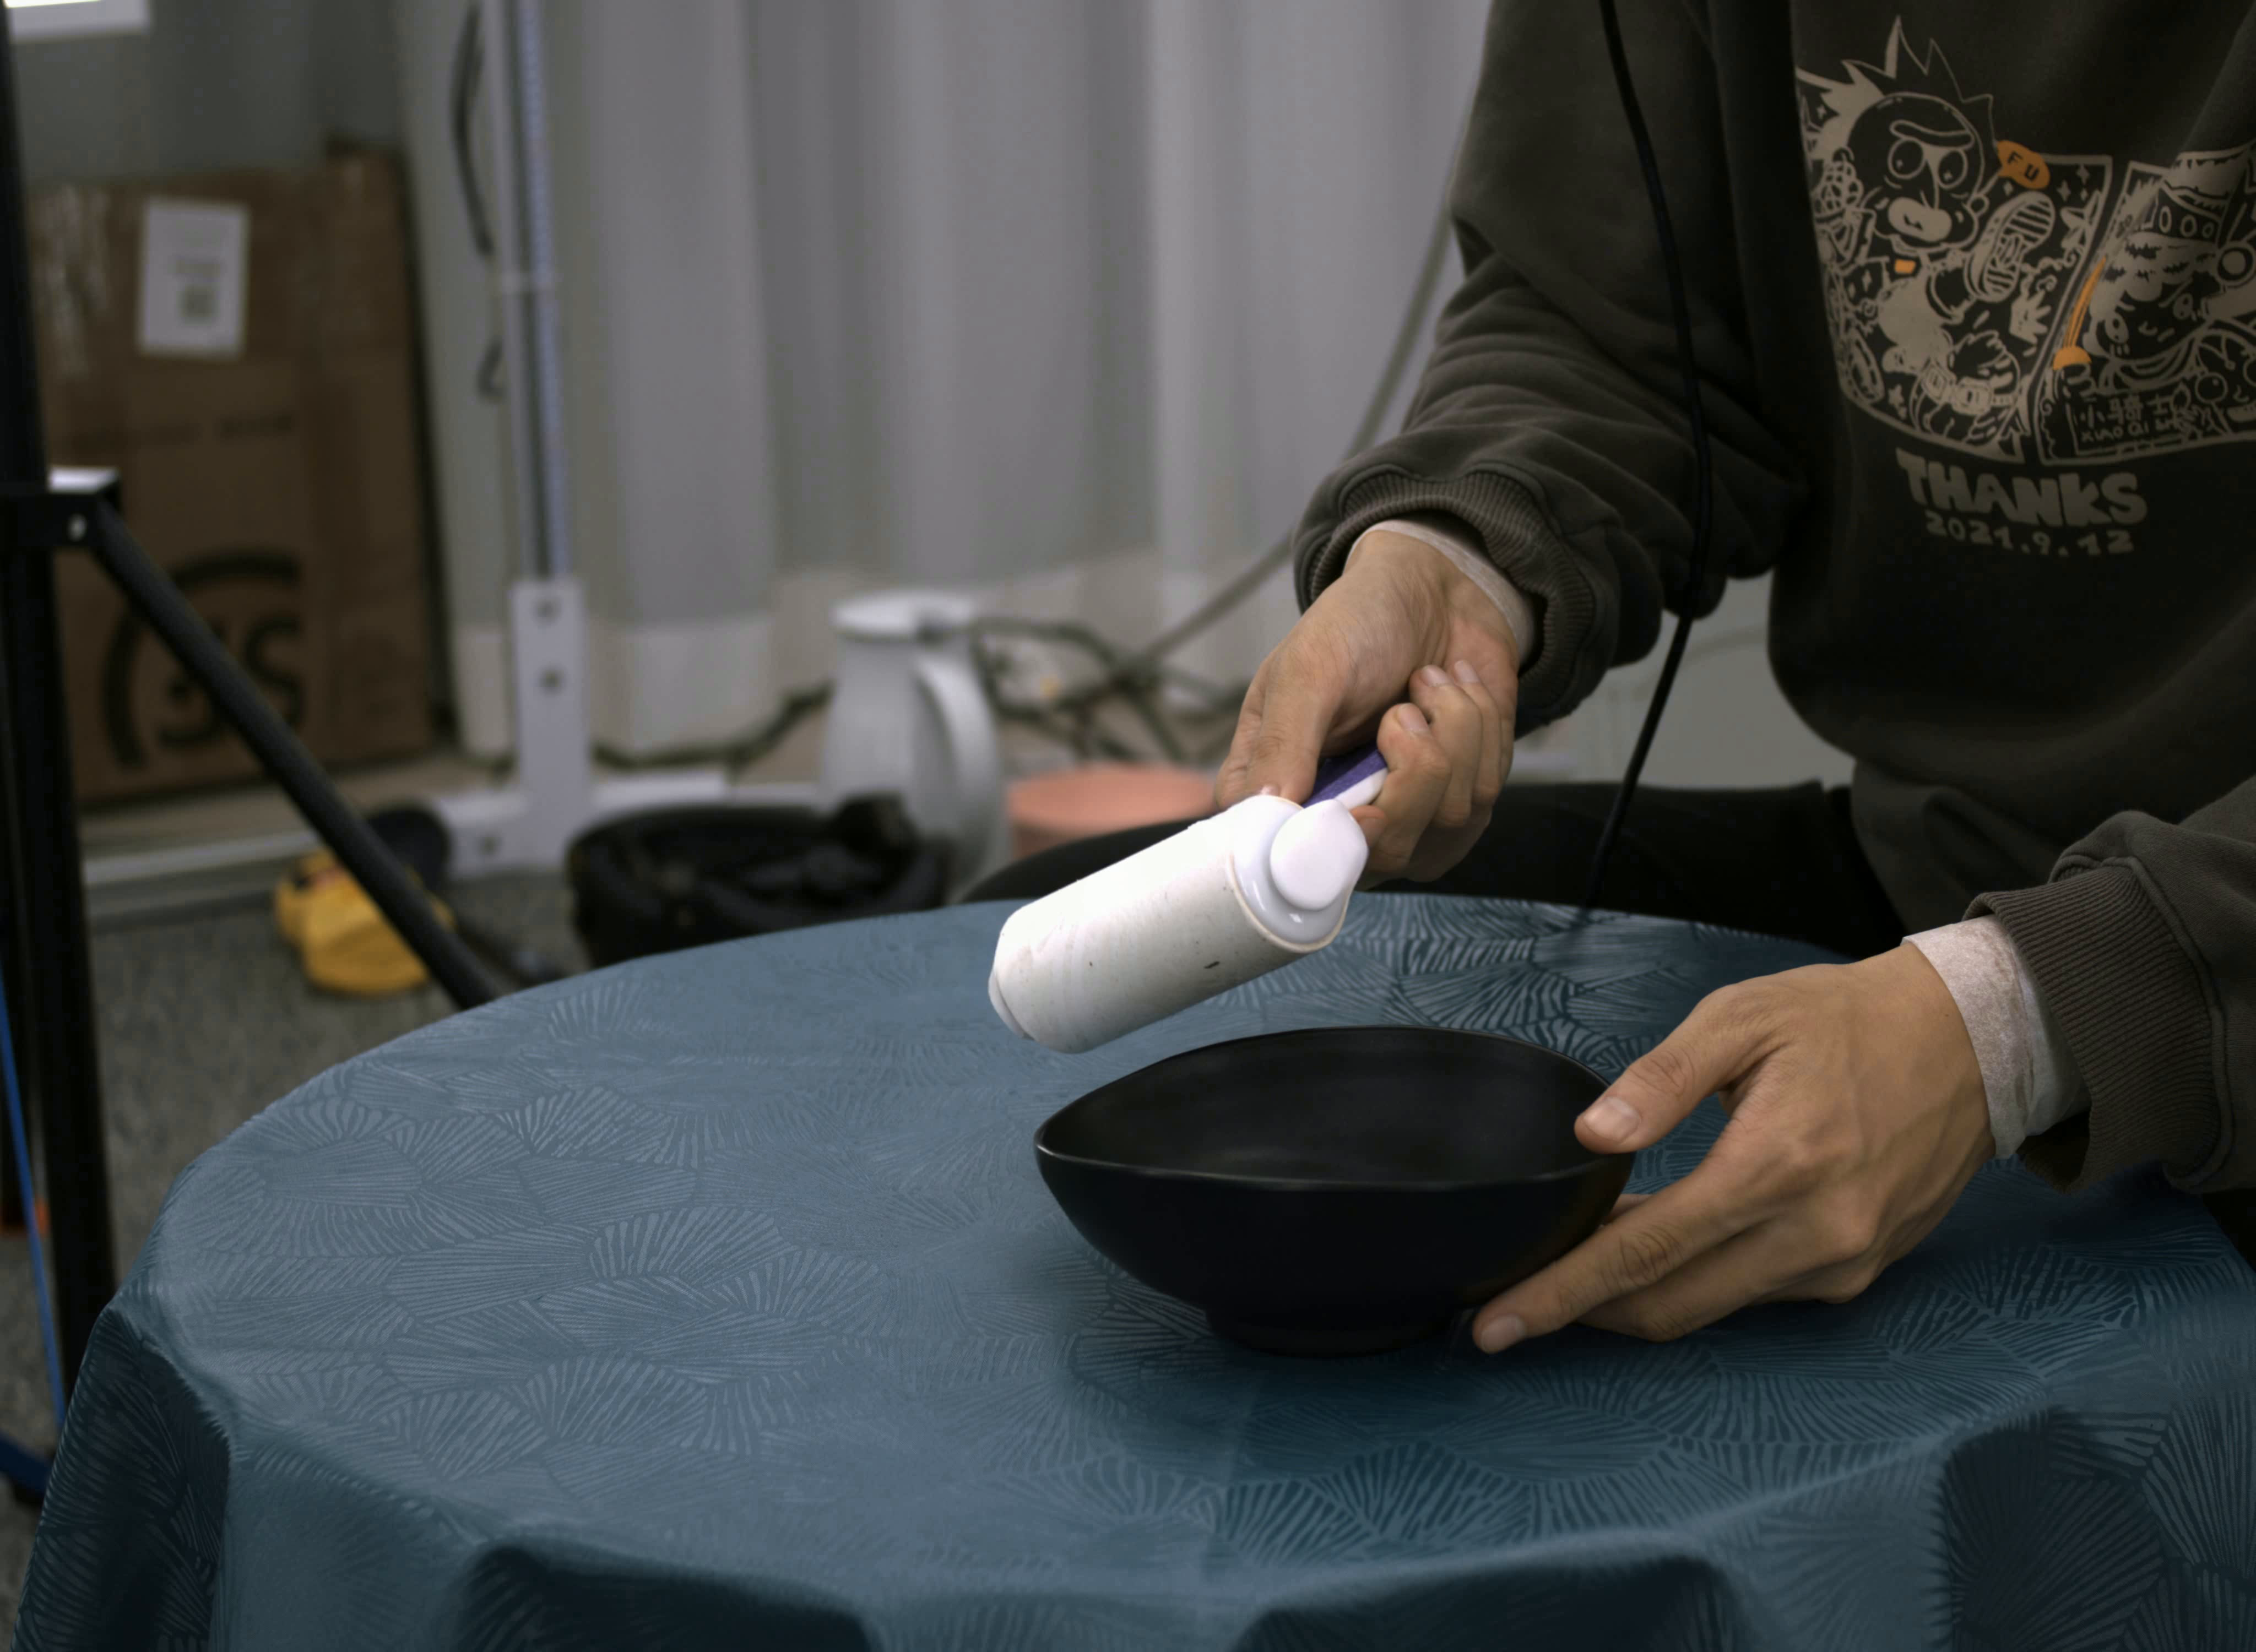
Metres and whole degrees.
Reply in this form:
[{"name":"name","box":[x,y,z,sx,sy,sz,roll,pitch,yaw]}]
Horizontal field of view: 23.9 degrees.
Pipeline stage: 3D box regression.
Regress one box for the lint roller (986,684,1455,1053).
[{"name":"lint roller","box":[0.043,-0.006,1.549,0.135,0.050,0.179,-25,17,45]}]

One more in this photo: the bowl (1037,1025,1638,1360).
[{"name":"bowl","box":[0.056,0.105,1.447,0.172,0.067,0.135,2,15,21]}]
